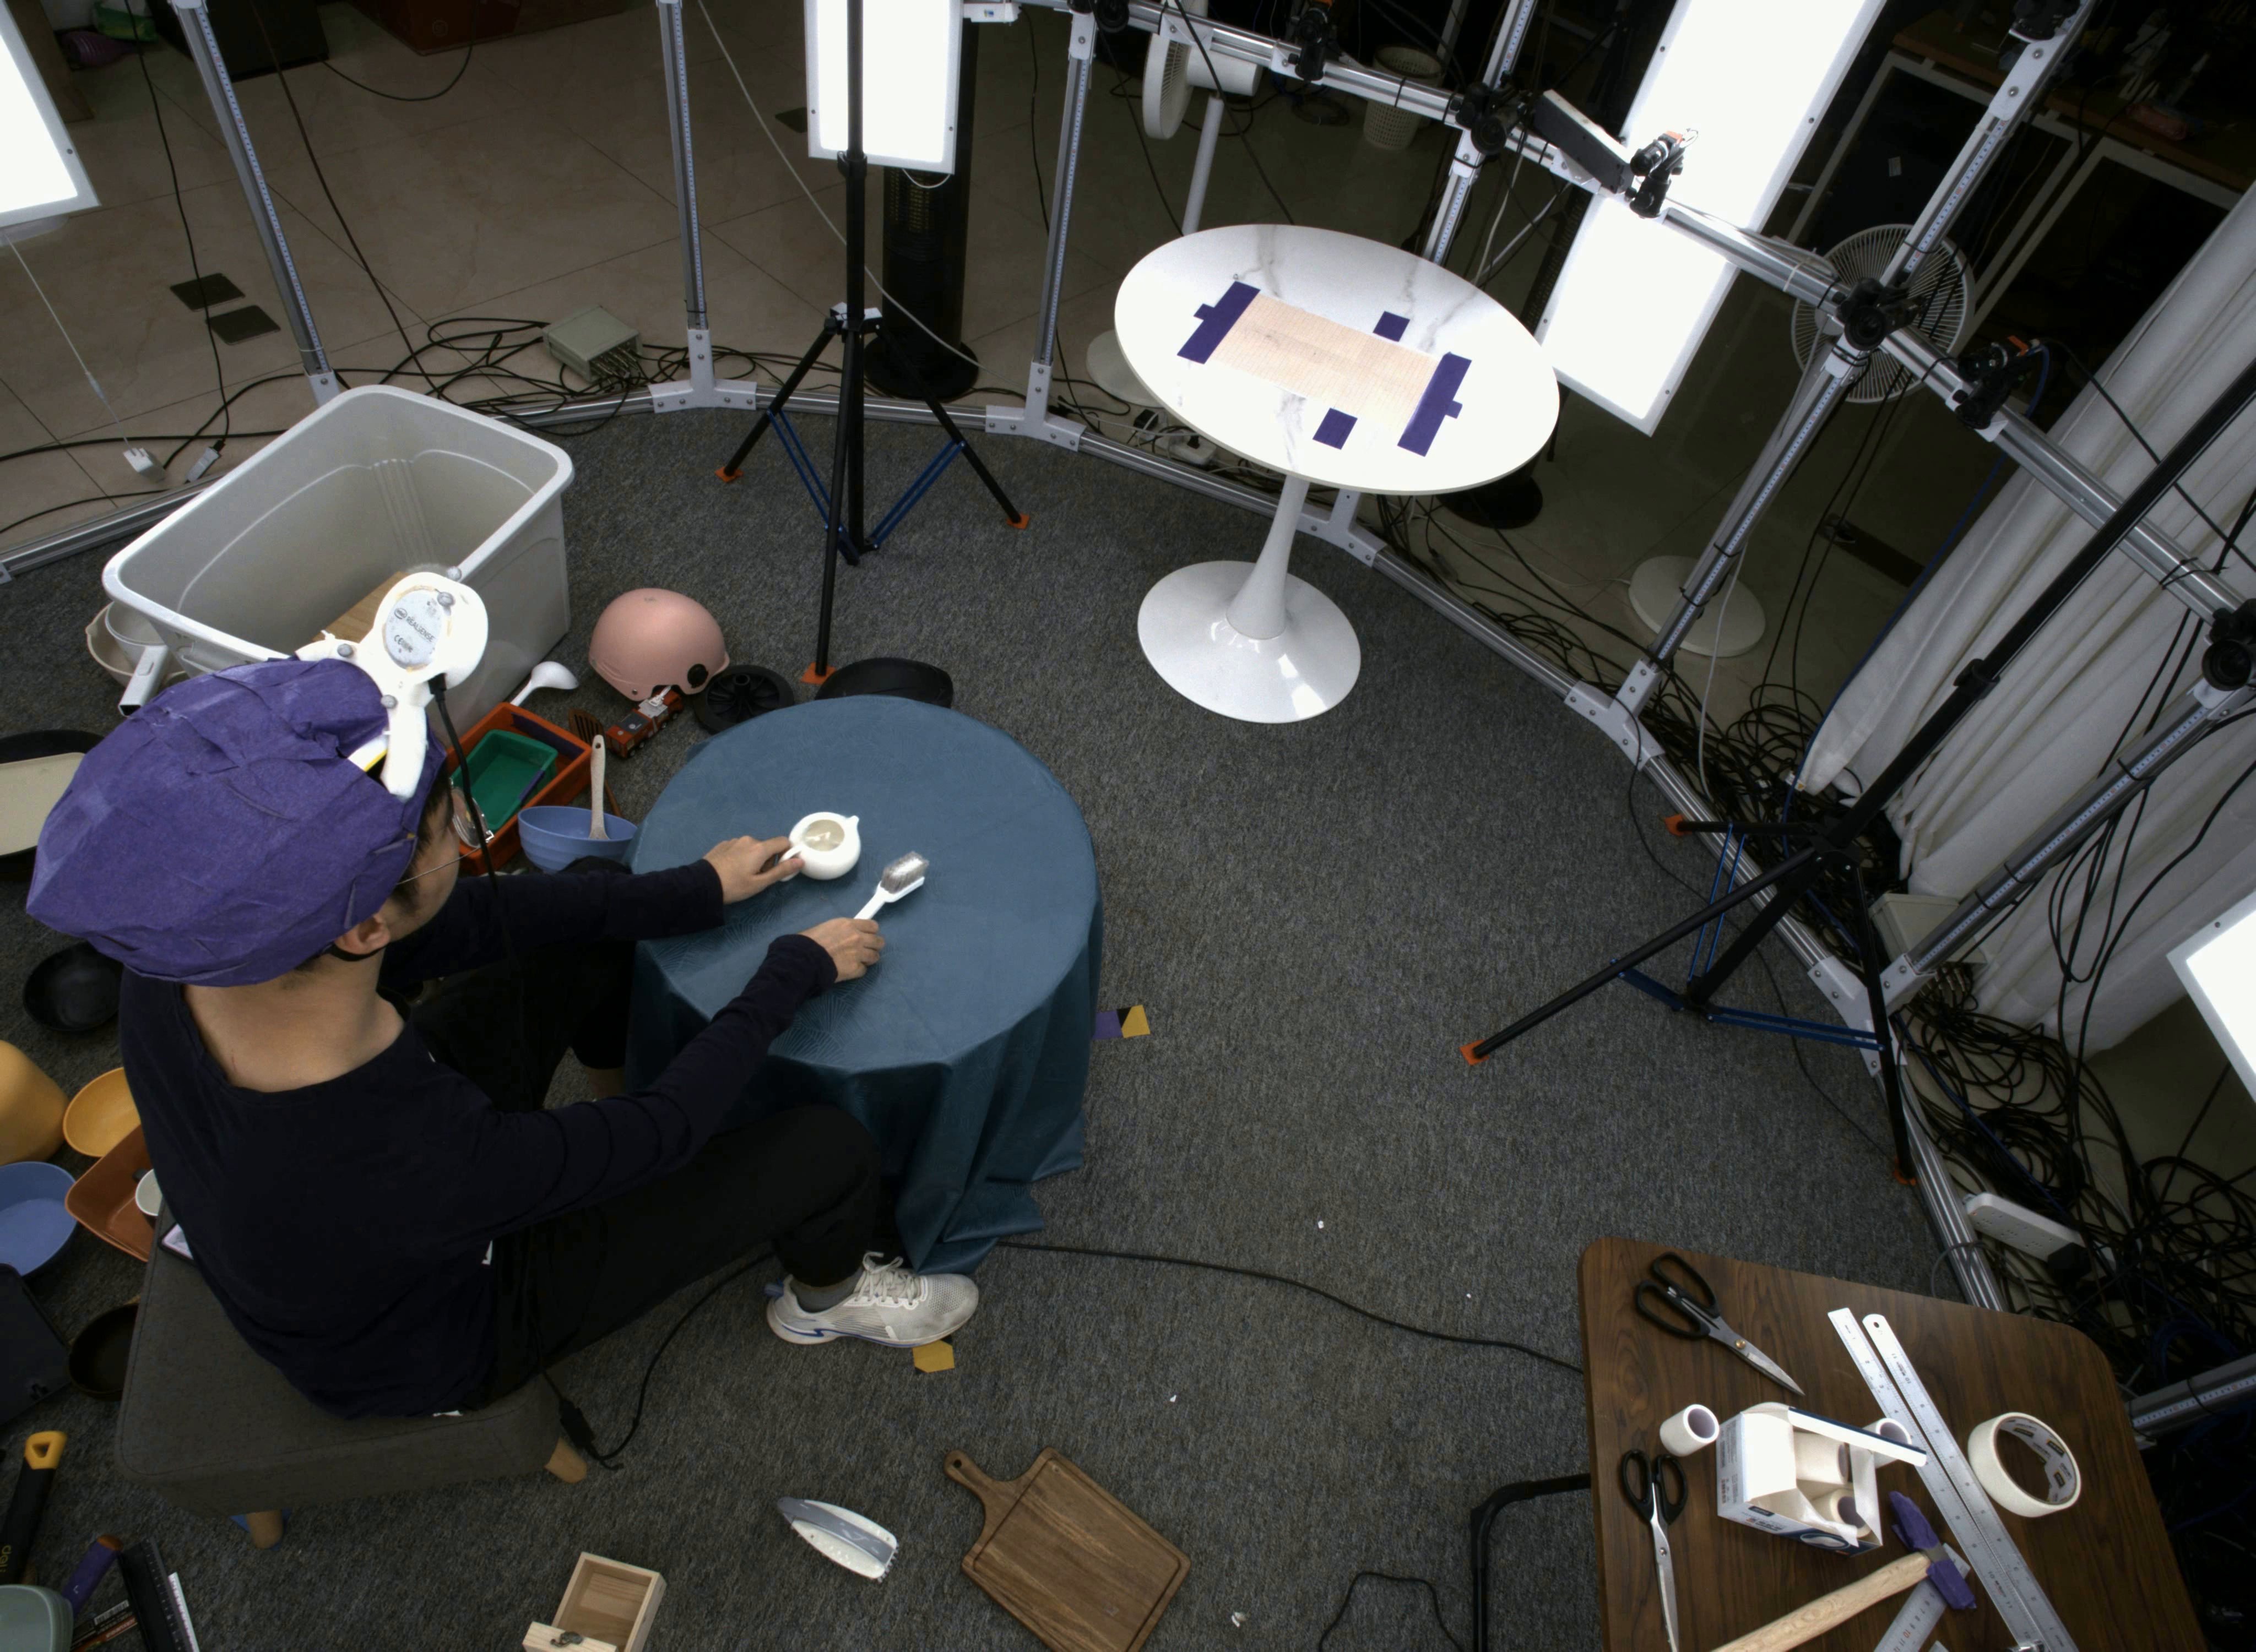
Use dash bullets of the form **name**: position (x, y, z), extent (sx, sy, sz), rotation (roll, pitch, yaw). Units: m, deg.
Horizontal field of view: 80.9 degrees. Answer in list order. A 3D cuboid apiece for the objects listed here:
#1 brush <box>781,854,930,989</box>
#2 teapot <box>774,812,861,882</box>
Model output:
- **brush**: position (-0.342, 0.114, 1.632), extent (0.034, 0.051, 0.244), rotation (38, 55, 15)
- **teapot**: position (-0.401, 0.031, 1.675), extent (0.092, 0.057, 0.127), rotation (44, 58, 14)
